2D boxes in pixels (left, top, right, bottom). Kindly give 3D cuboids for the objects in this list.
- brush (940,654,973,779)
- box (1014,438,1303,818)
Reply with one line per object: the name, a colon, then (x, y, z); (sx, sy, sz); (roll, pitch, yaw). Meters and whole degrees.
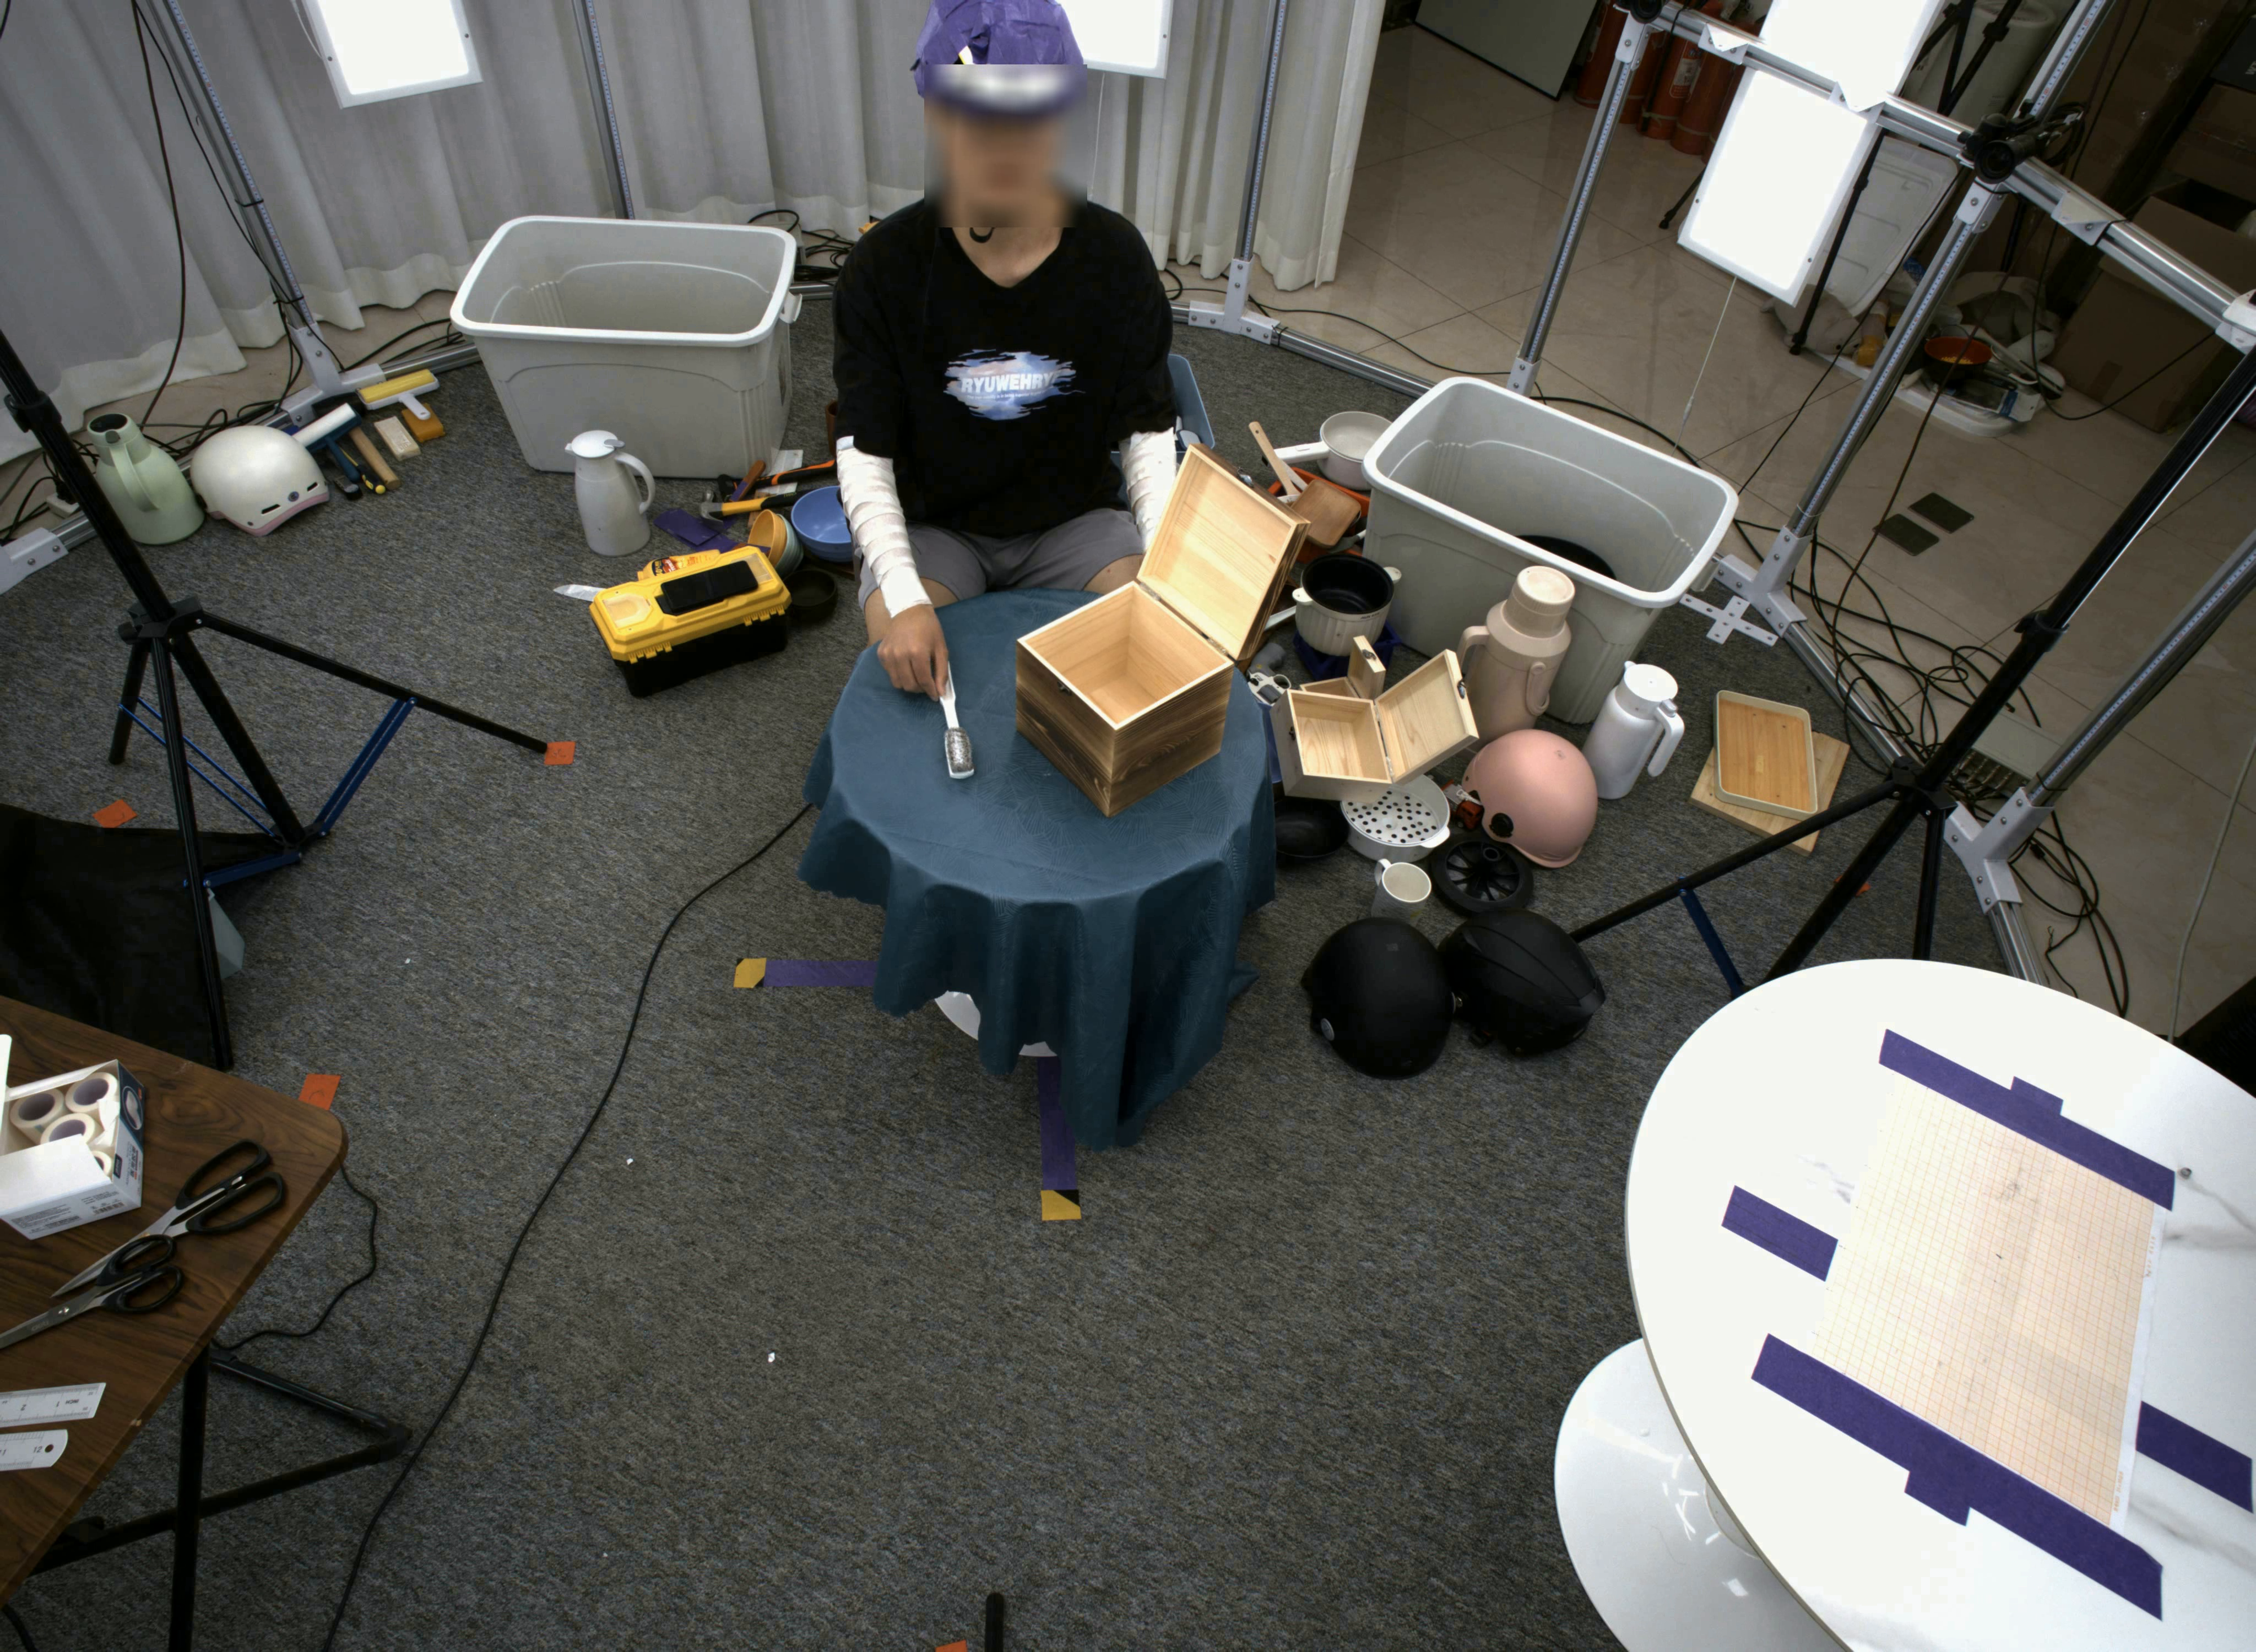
brush: (-0.240, -0.164, 1.768); (0.034, 0.049, 0.250); (-8, 51, -5)
box: (0.034, -0.258, 1.665); (0.324, 0.366, 0.212); (-32, 57, -26)
